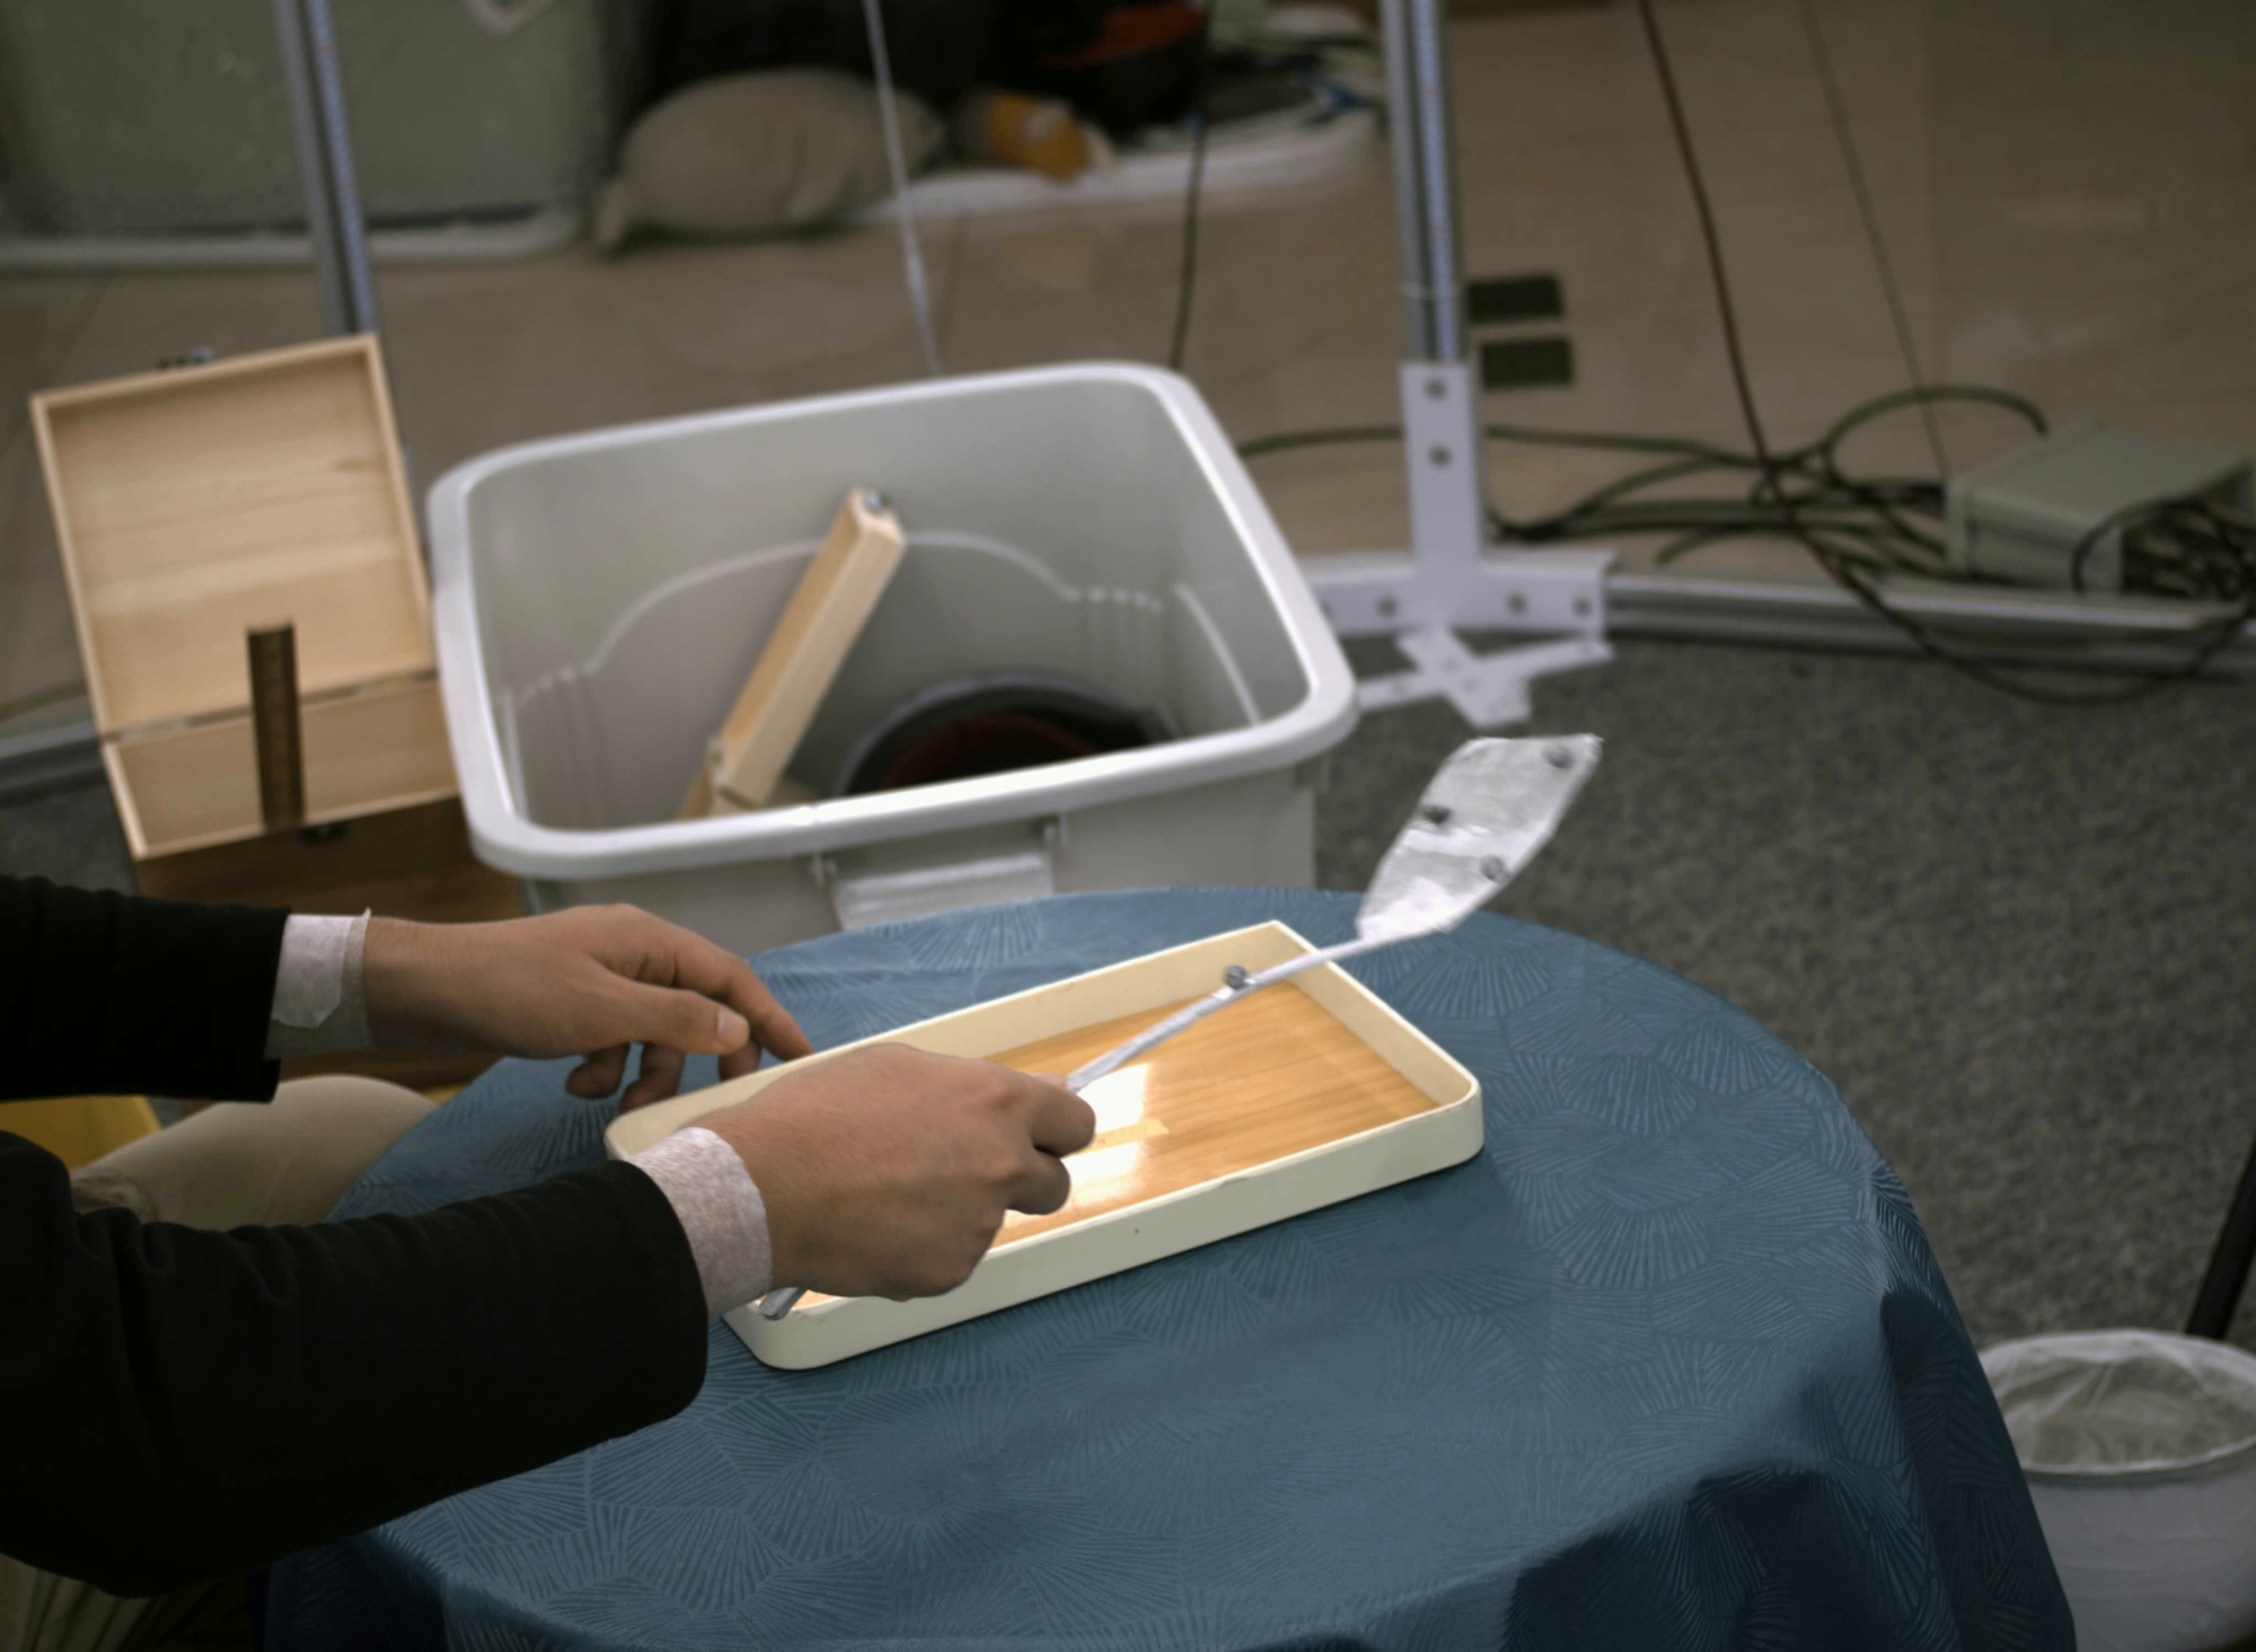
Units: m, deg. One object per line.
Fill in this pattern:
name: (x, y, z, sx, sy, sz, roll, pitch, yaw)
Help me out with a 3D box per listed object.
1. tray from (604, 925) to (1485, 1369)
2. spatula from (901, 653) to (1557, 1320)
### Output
tray: (-0.033, 0.119, 2.167, 0.299, 0.028, 0.189, -16, 26, -19)
spatula: (0.035, 0.054, 1.983, 0.361, 0.045, 0.099, -37, 1, -34)
